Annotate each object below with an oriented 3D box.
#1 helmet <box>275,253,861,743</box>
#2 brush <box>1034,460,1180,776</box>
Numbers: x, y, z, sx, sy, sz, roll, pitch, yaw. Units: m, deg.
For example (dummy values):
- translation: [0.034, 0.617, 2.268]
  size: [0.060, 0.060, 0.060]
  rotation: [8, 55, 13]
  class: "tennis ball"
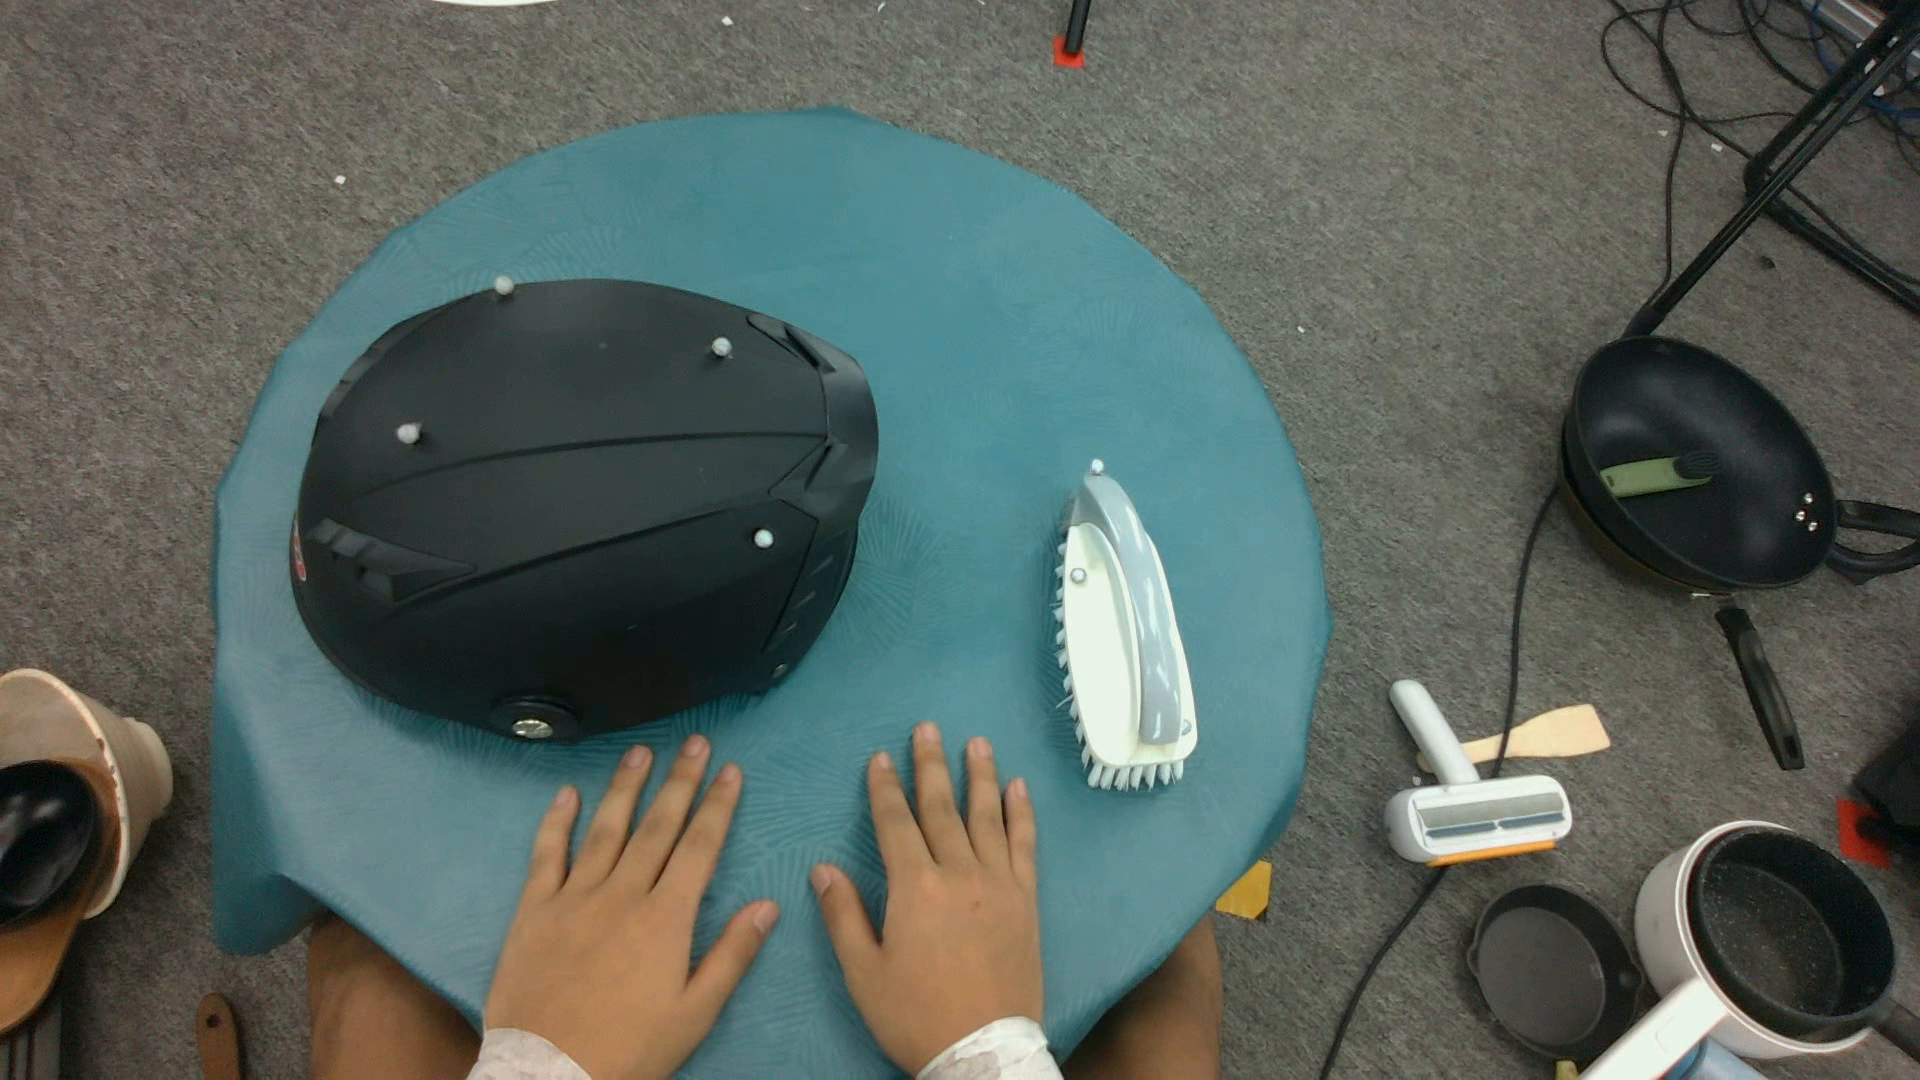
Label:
- translation: [-0.188, -0.038, 0.664]
  size: [0.277, 0.171, 0.247]
  rotation: [-1, 62, -15]
  class: "helmet"
- translation: [0.075, 0.026, 0.716]
  size: [0.061, 0.094, 0.176]
  rotation: [-2, 60, -13]
  class: "brush"
